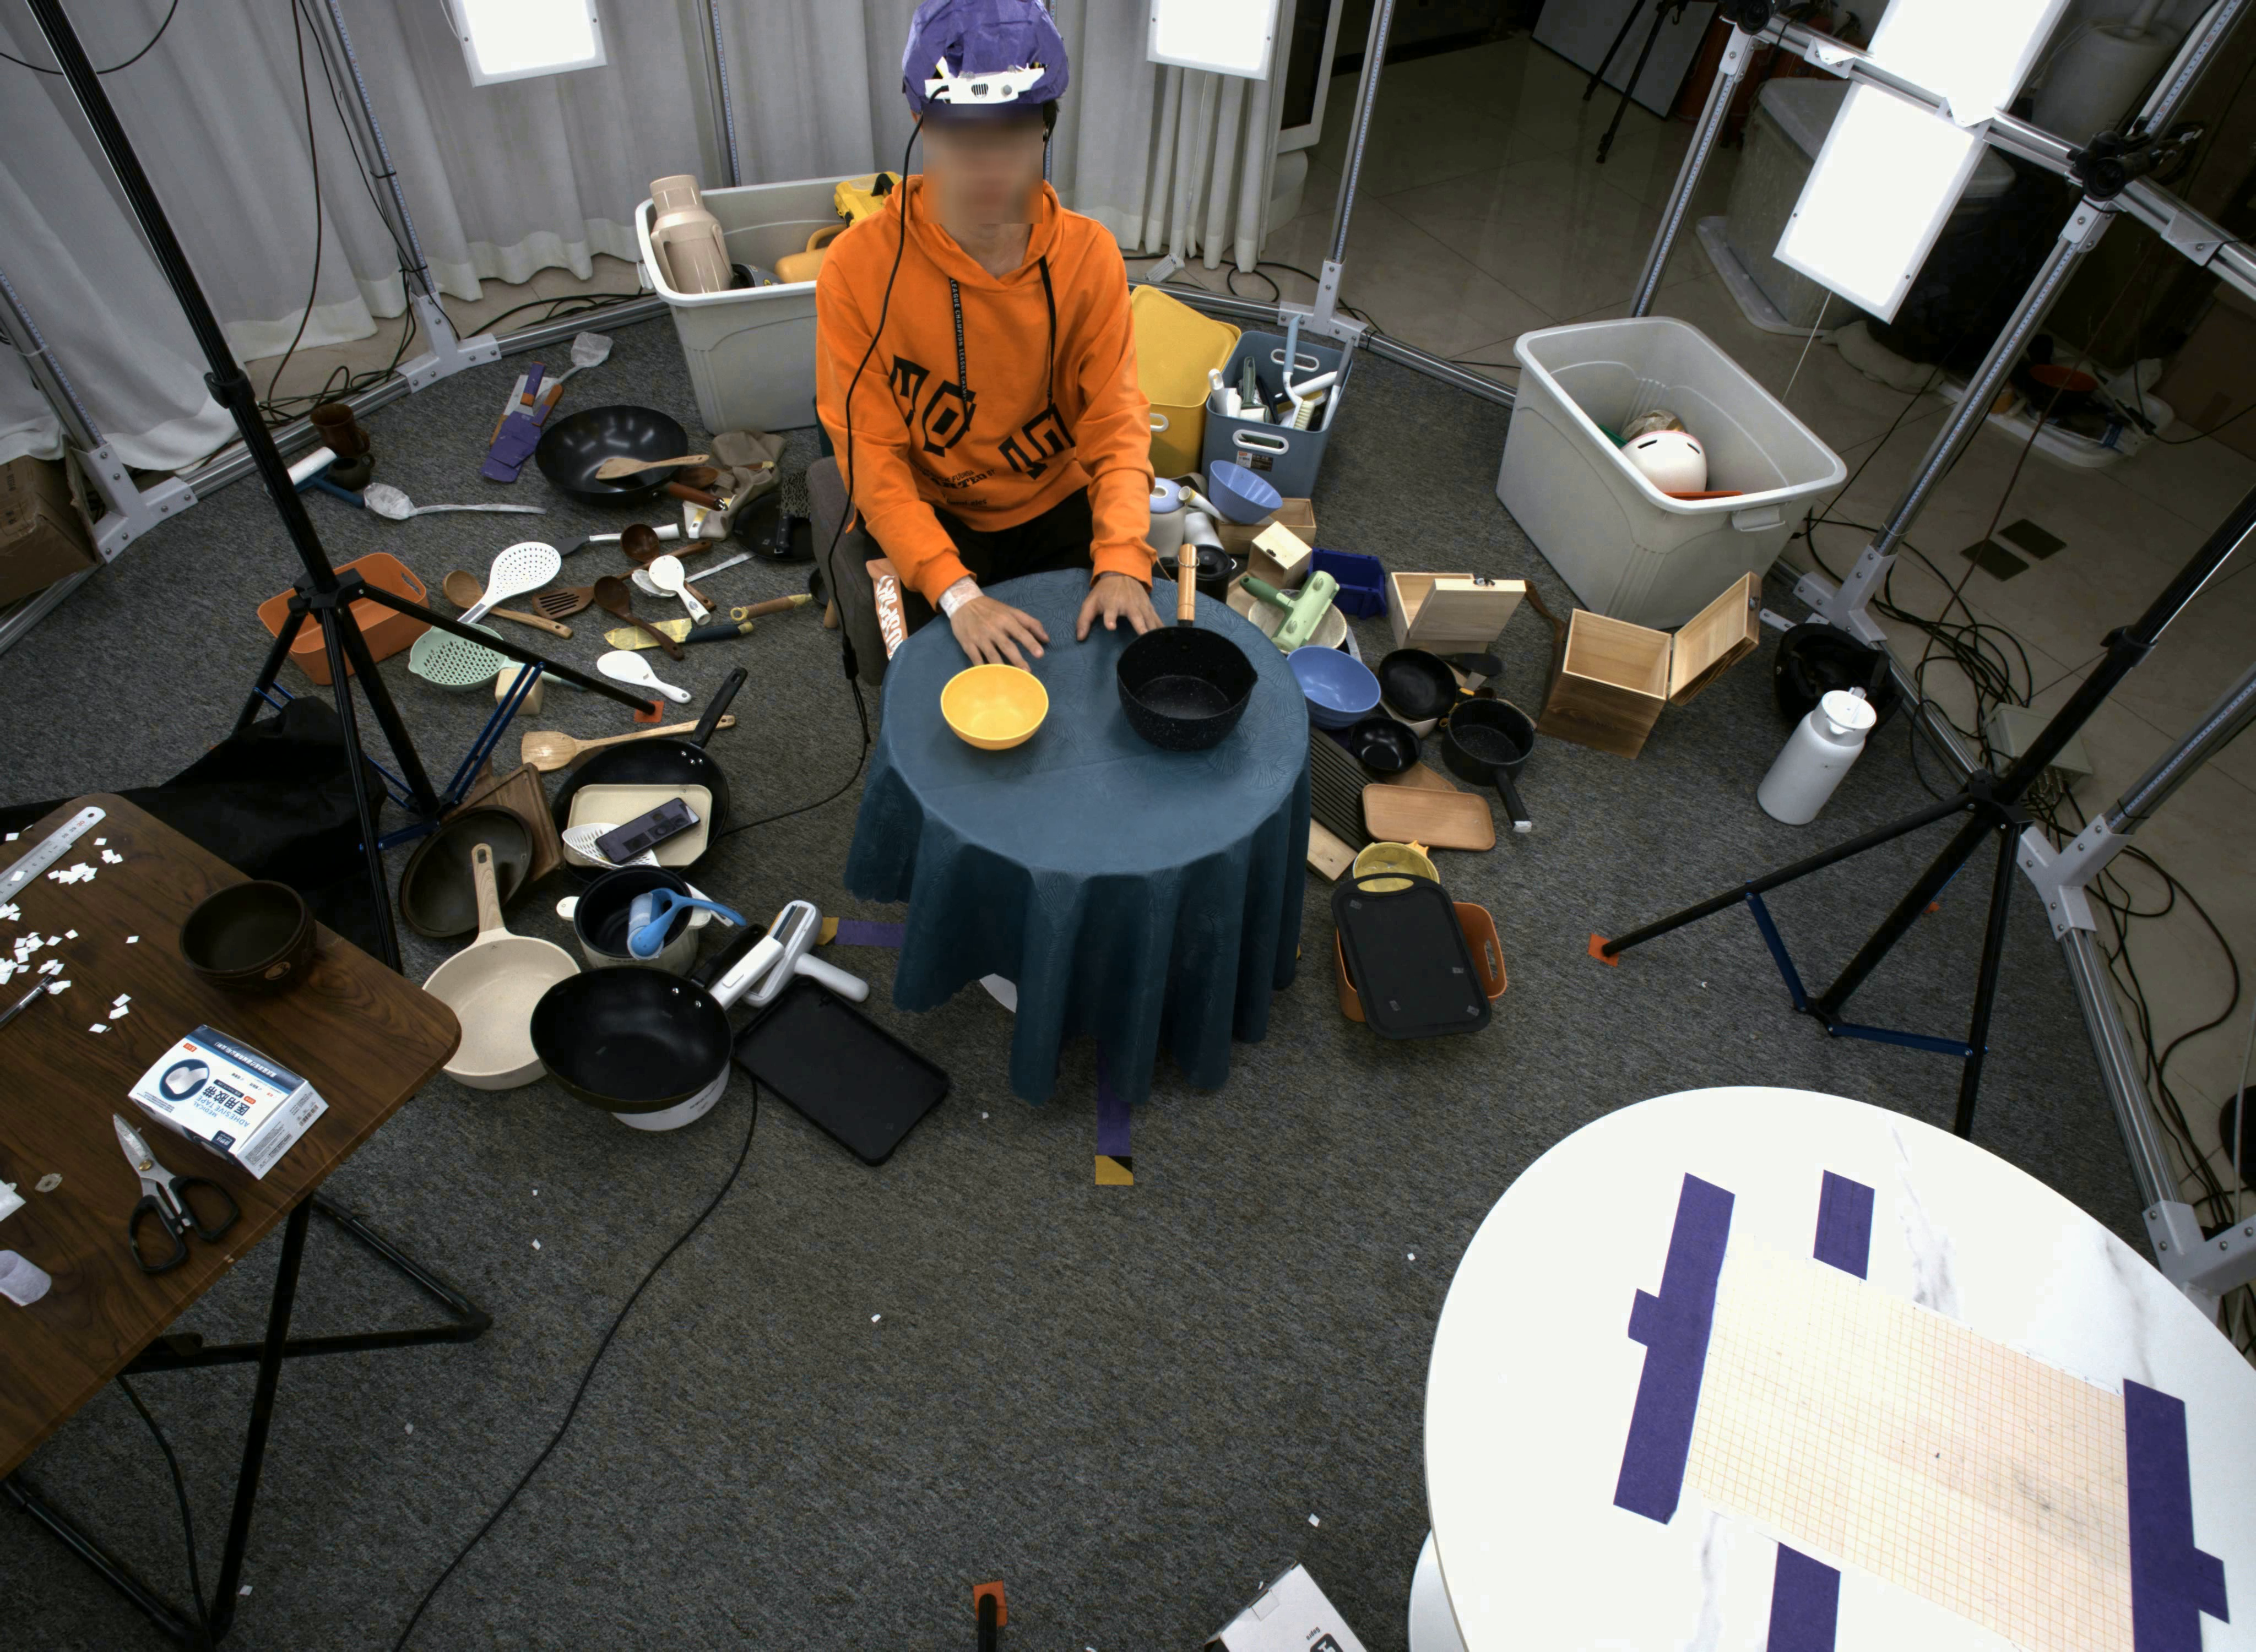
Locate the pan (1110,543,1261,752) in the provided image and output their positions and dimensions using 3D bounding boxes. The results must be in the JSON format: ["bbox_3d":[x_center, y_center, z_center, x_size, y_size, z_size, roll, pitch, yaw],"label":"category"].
[{"bbox_3d":[0.079,-0.254,1.825,0.207,0.105,0.351,2,50,0],"label":"pan"}]

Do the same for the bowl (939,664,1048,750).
[{"bbox_3d":[-0.183,-0.151,1.750,0.145,0.058,0.149,3,48,-3],"label":"bowl"}]
